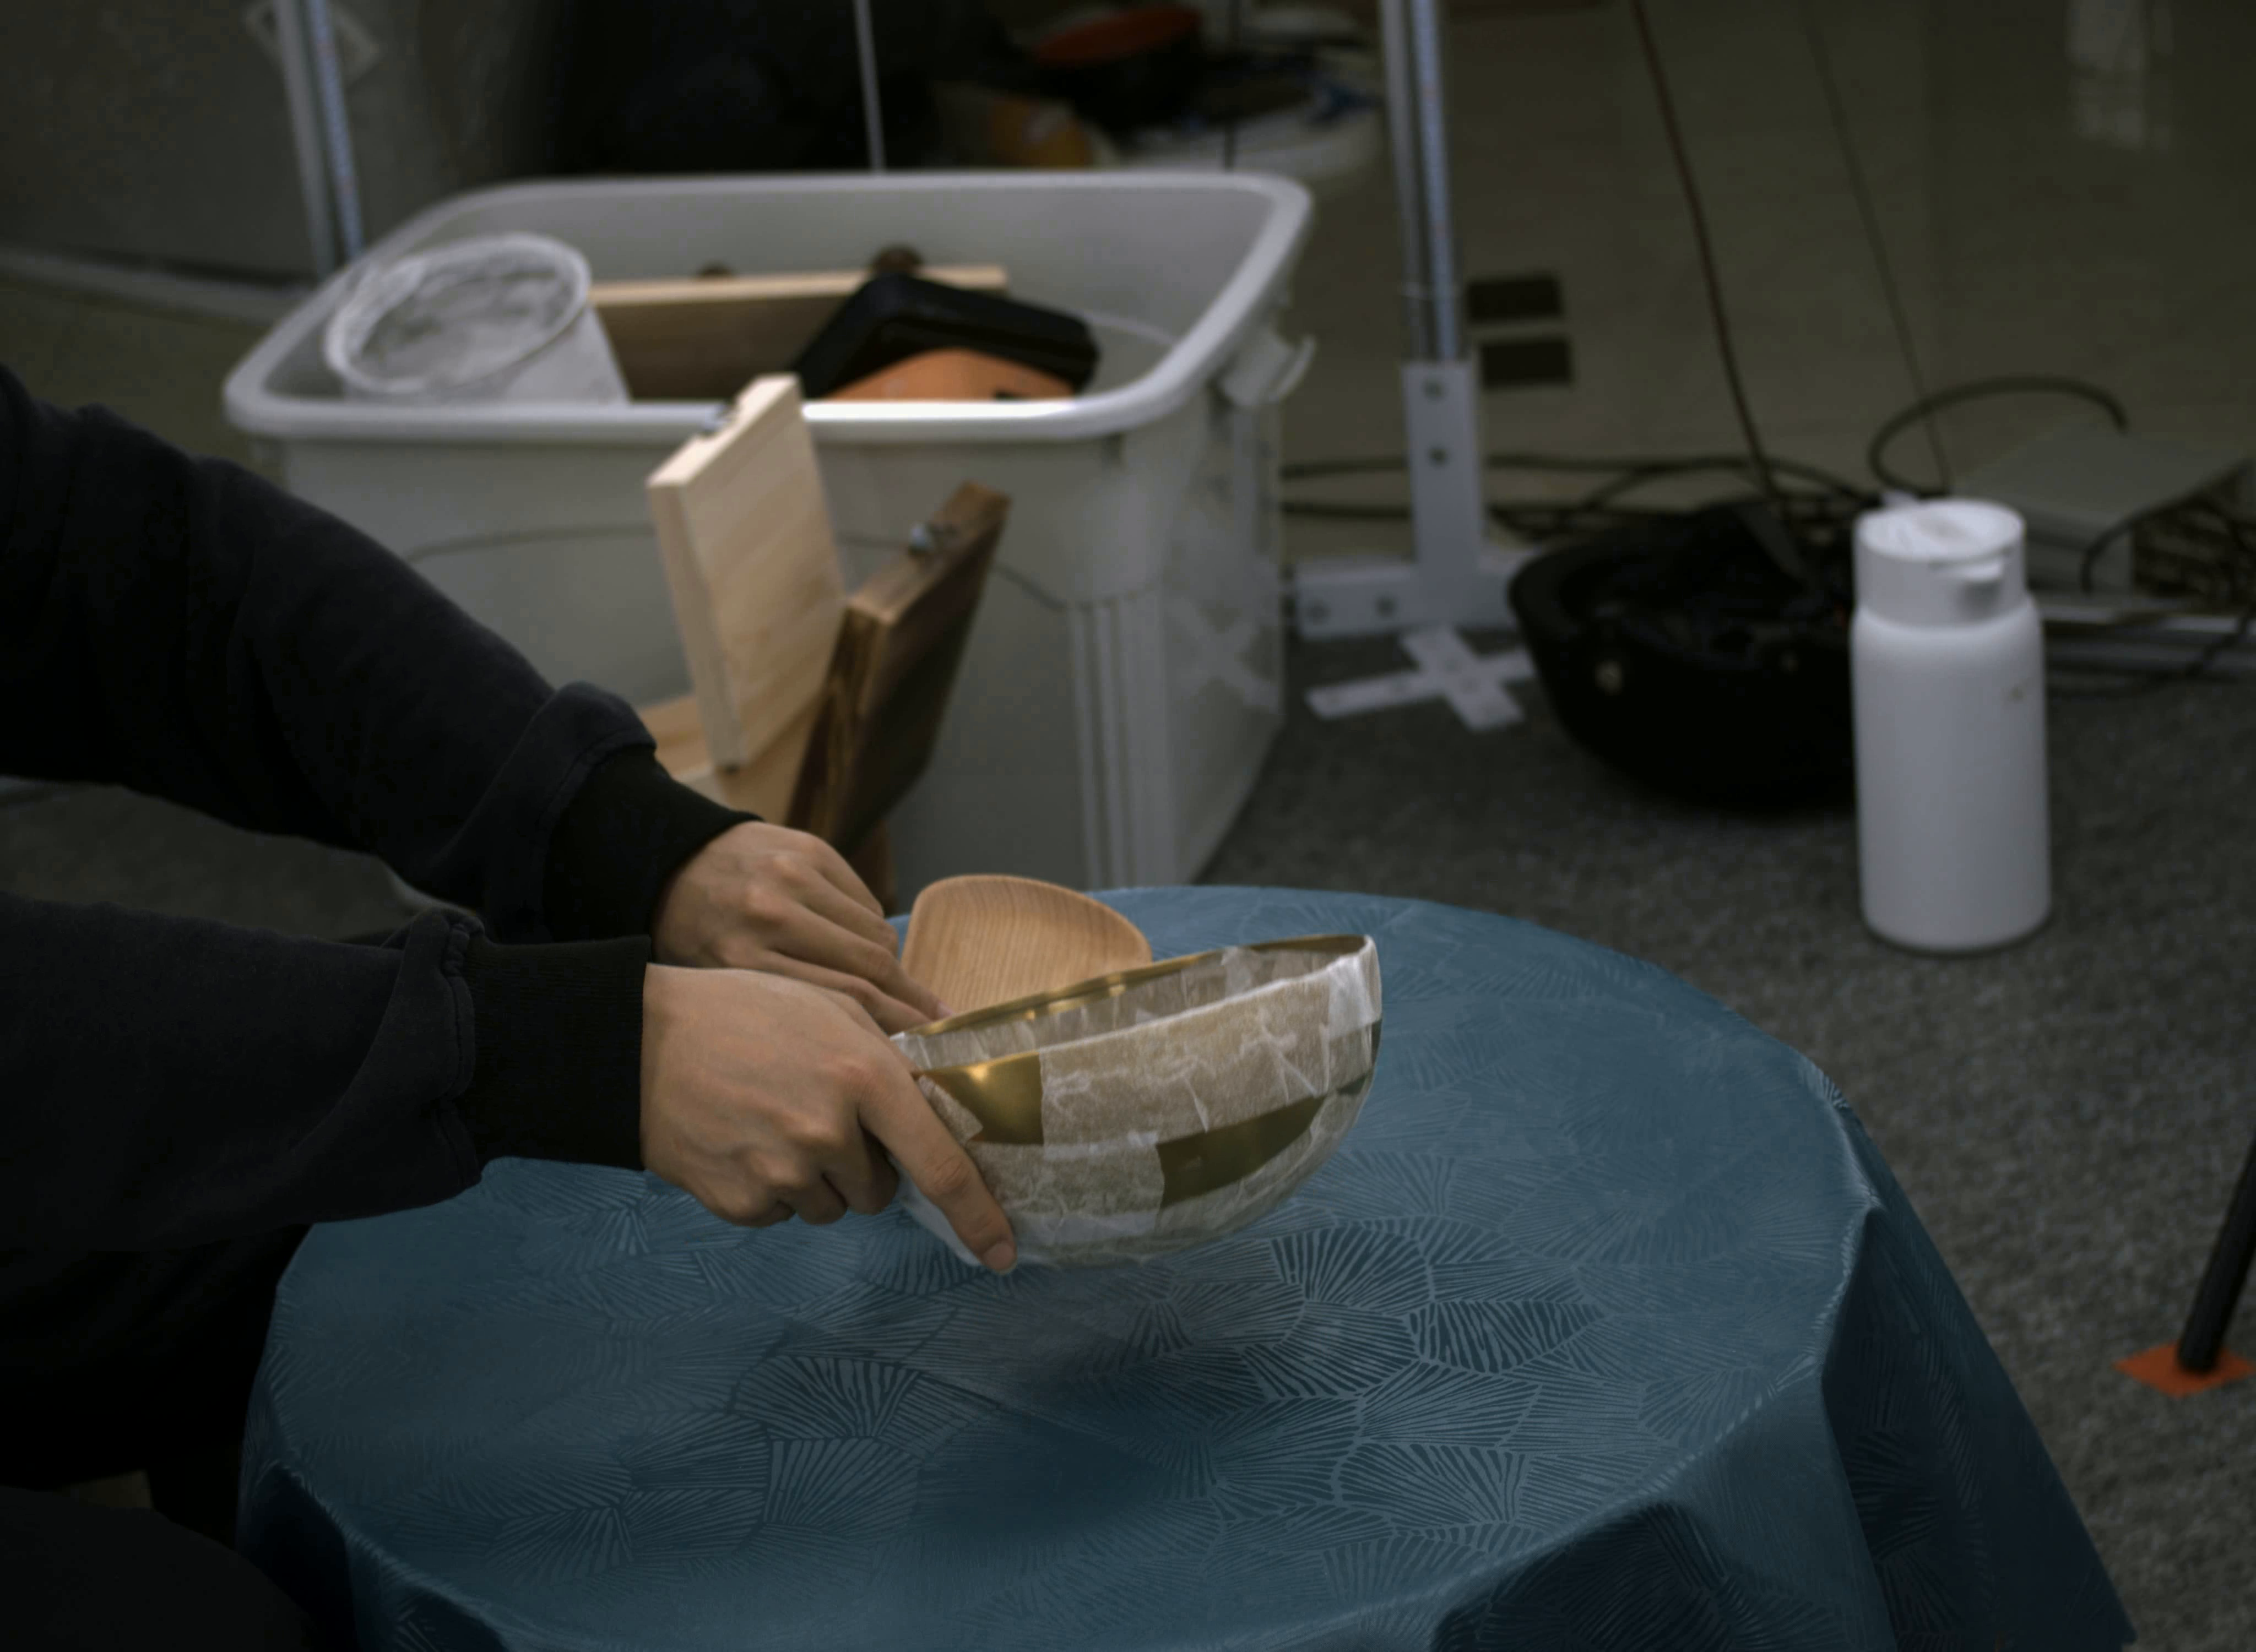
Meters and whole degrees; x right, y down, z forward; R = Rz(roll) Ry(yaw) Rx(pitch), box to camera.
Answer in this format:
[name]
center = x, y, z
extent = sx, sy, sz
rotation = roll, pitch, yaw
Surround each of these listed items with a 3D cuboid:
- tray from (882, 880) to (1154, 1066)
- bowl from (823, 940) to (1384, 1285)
[tray]
center = -0.043, 0.080, 2.240
extent = 0.101, 0.020, 0.227
rotation = 11, 28, -2
[bowl]
center = -0.001, 0.110, 2.029
extent = 0.214, 0.095, 0.214
rotation = -14, 5, 1
